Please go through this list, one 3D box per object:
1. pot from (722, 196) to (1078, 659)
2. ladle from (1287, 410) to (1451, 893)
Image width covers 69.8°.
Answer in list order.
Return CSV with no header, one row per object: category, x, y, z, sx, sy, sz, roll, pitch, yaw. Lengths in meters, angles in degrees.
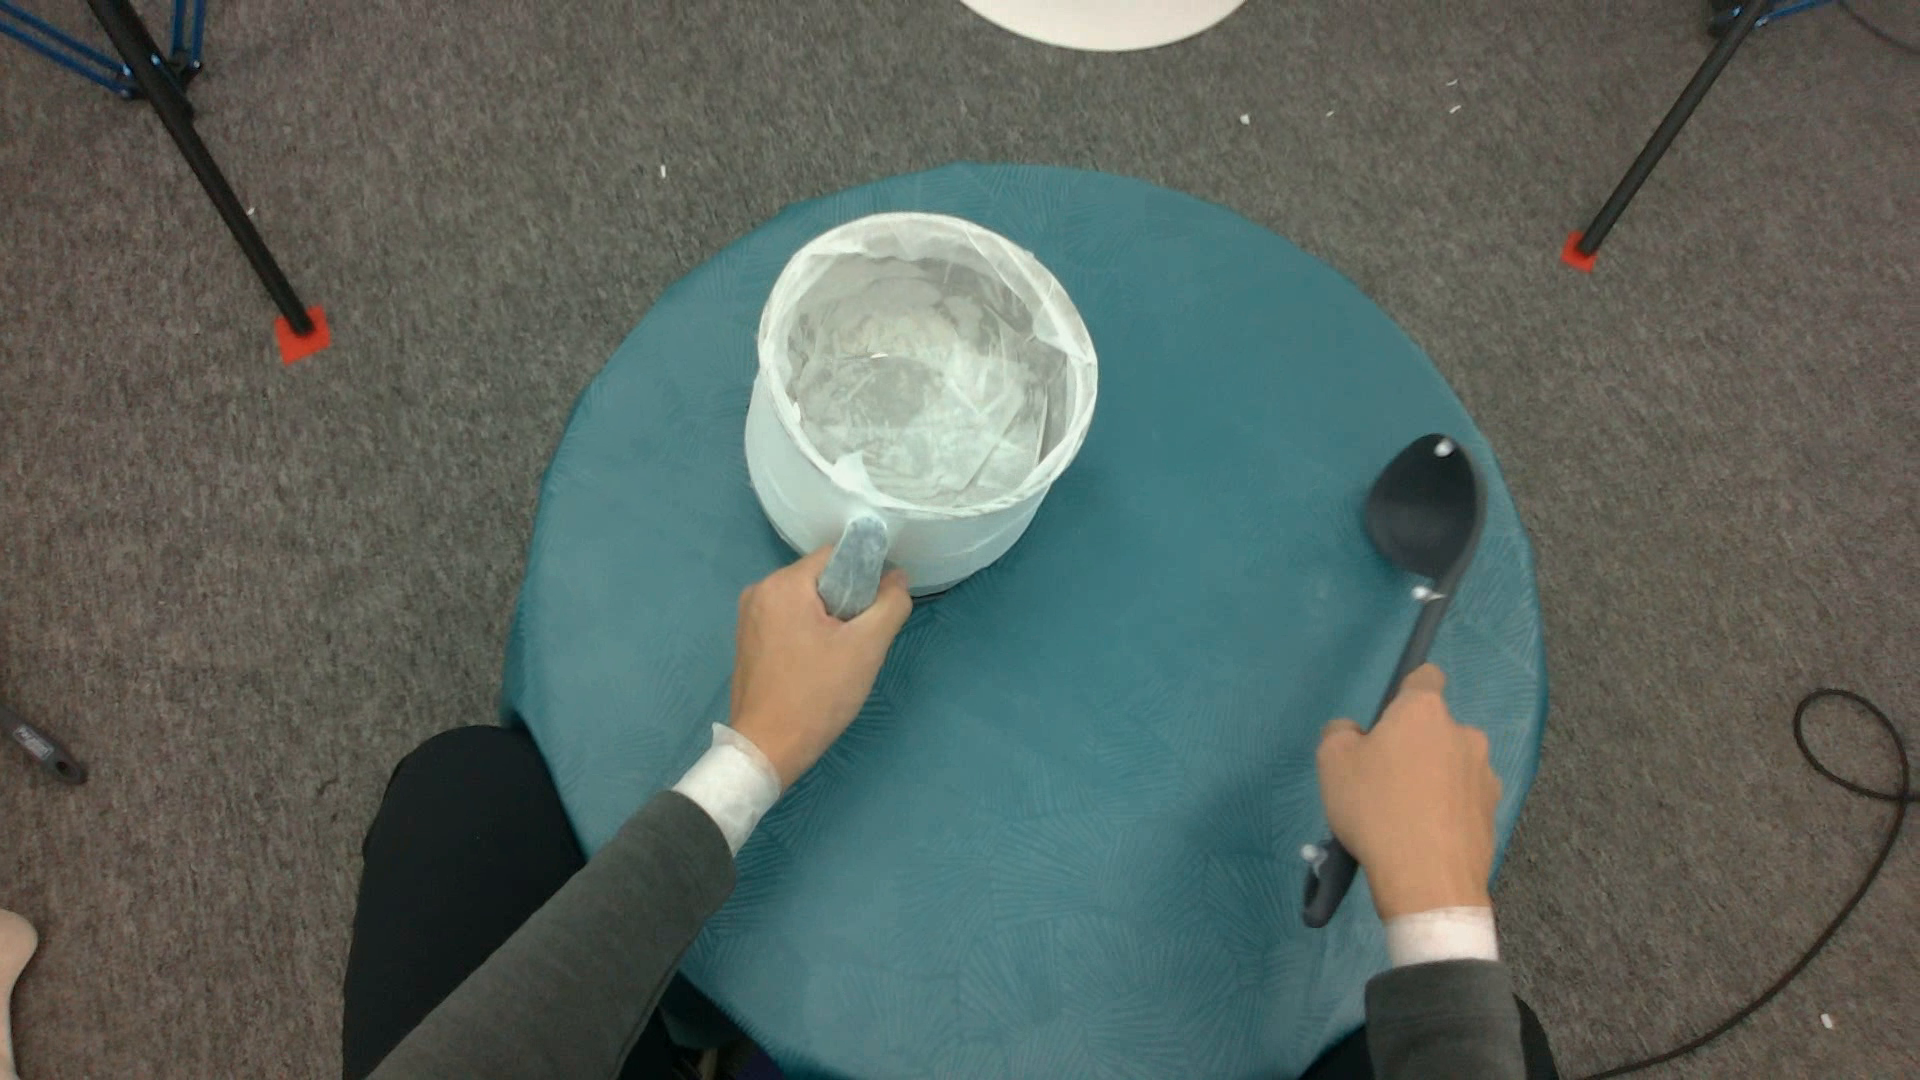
pot,-0.046,-0.054,0.747,0.179,0.136,0.234,20,64,-6
ladle,0.201,0.047,0.722,0.064,0.086,0.315,33,49,2
